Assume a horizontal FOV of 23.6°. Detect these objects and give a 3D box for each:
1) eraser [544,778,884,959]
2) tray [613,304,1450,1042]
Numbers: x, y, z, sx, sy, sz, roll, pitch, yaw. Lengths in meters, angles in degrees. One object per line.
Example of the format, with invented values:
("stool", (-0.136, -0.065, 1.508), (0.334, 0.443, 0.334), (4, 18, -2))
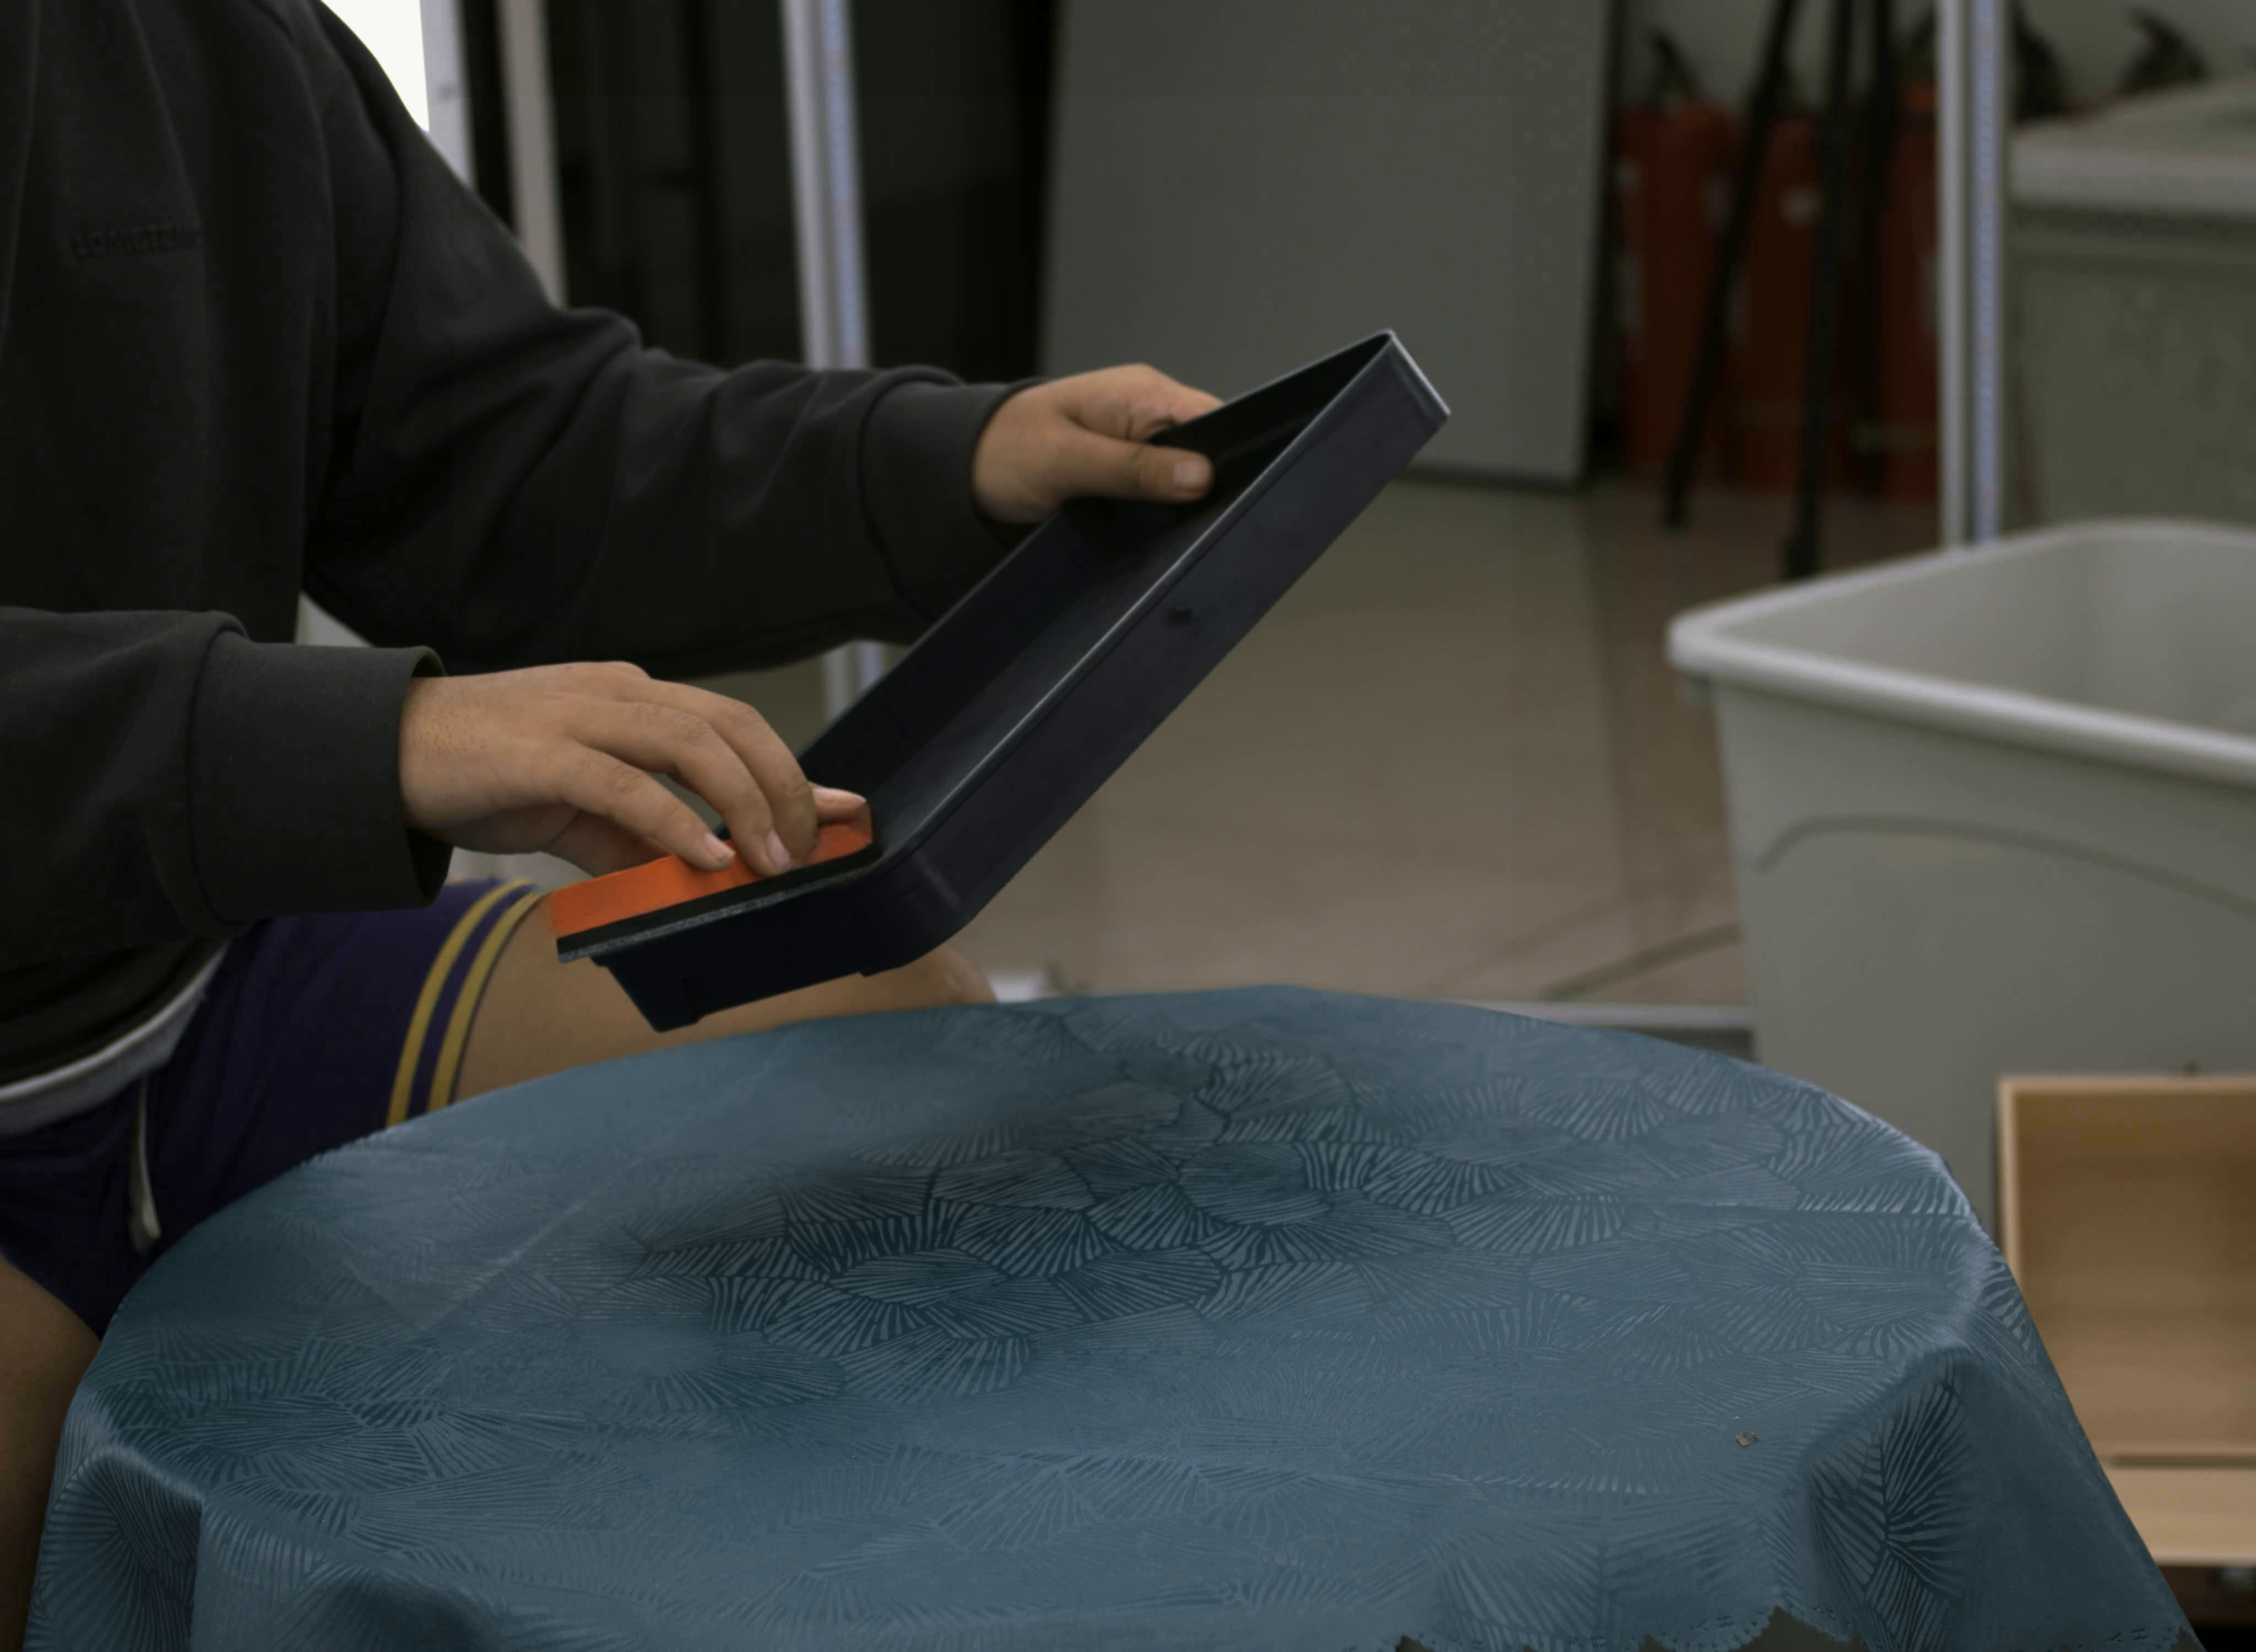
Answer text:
("eraser", (-0.127, 0.013, 1.674), (0.059, 0.023, 0.106), (-28, -7, 37))
("tray", (-0.029, -0.051, 1.801), (0.186, 0.037, 0.315), (-23, 20, 52))
